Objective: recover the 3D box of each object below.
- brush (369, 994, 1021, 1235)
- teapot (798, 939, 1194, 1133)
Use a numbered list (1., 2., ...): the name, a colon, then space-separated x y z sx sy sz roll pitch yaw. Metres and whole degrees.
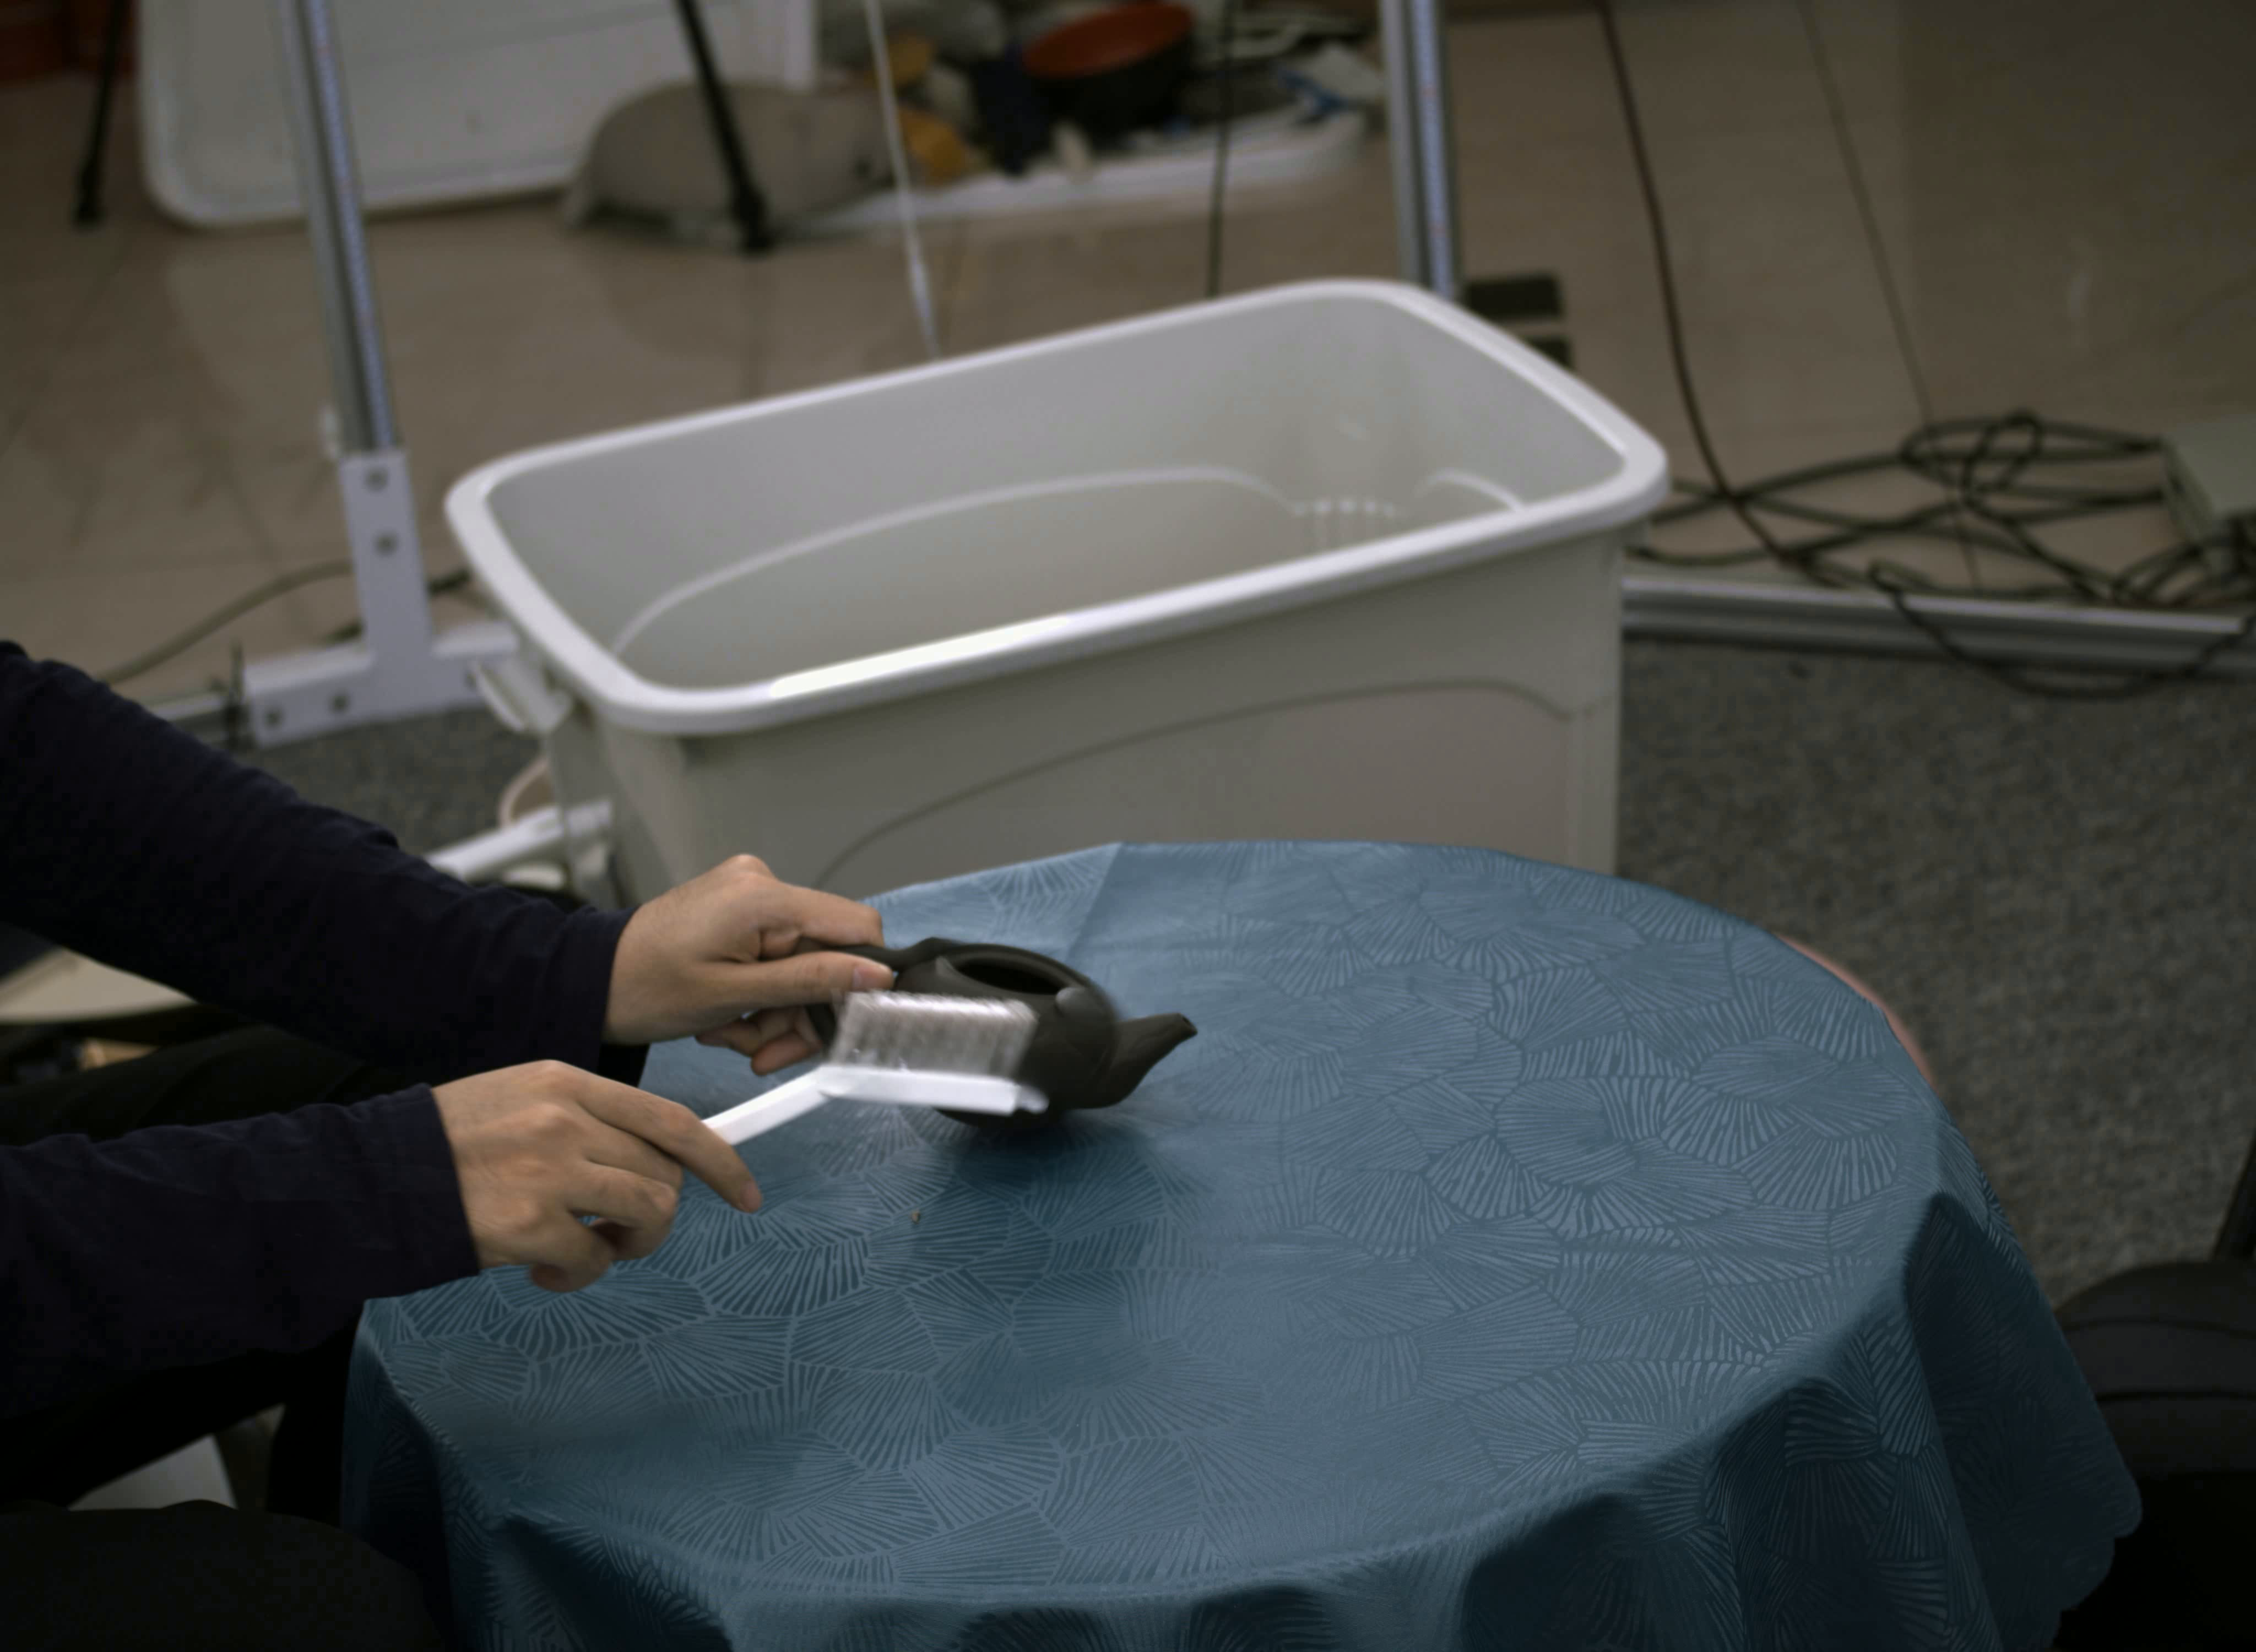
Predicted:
1. brush: -0.156 0.099 2.023 0.243 0.051 0.034 -12 14 -1
2. teapot: -0.053 0.081 2.196 0.154 0.065 0.091 12 16 1
